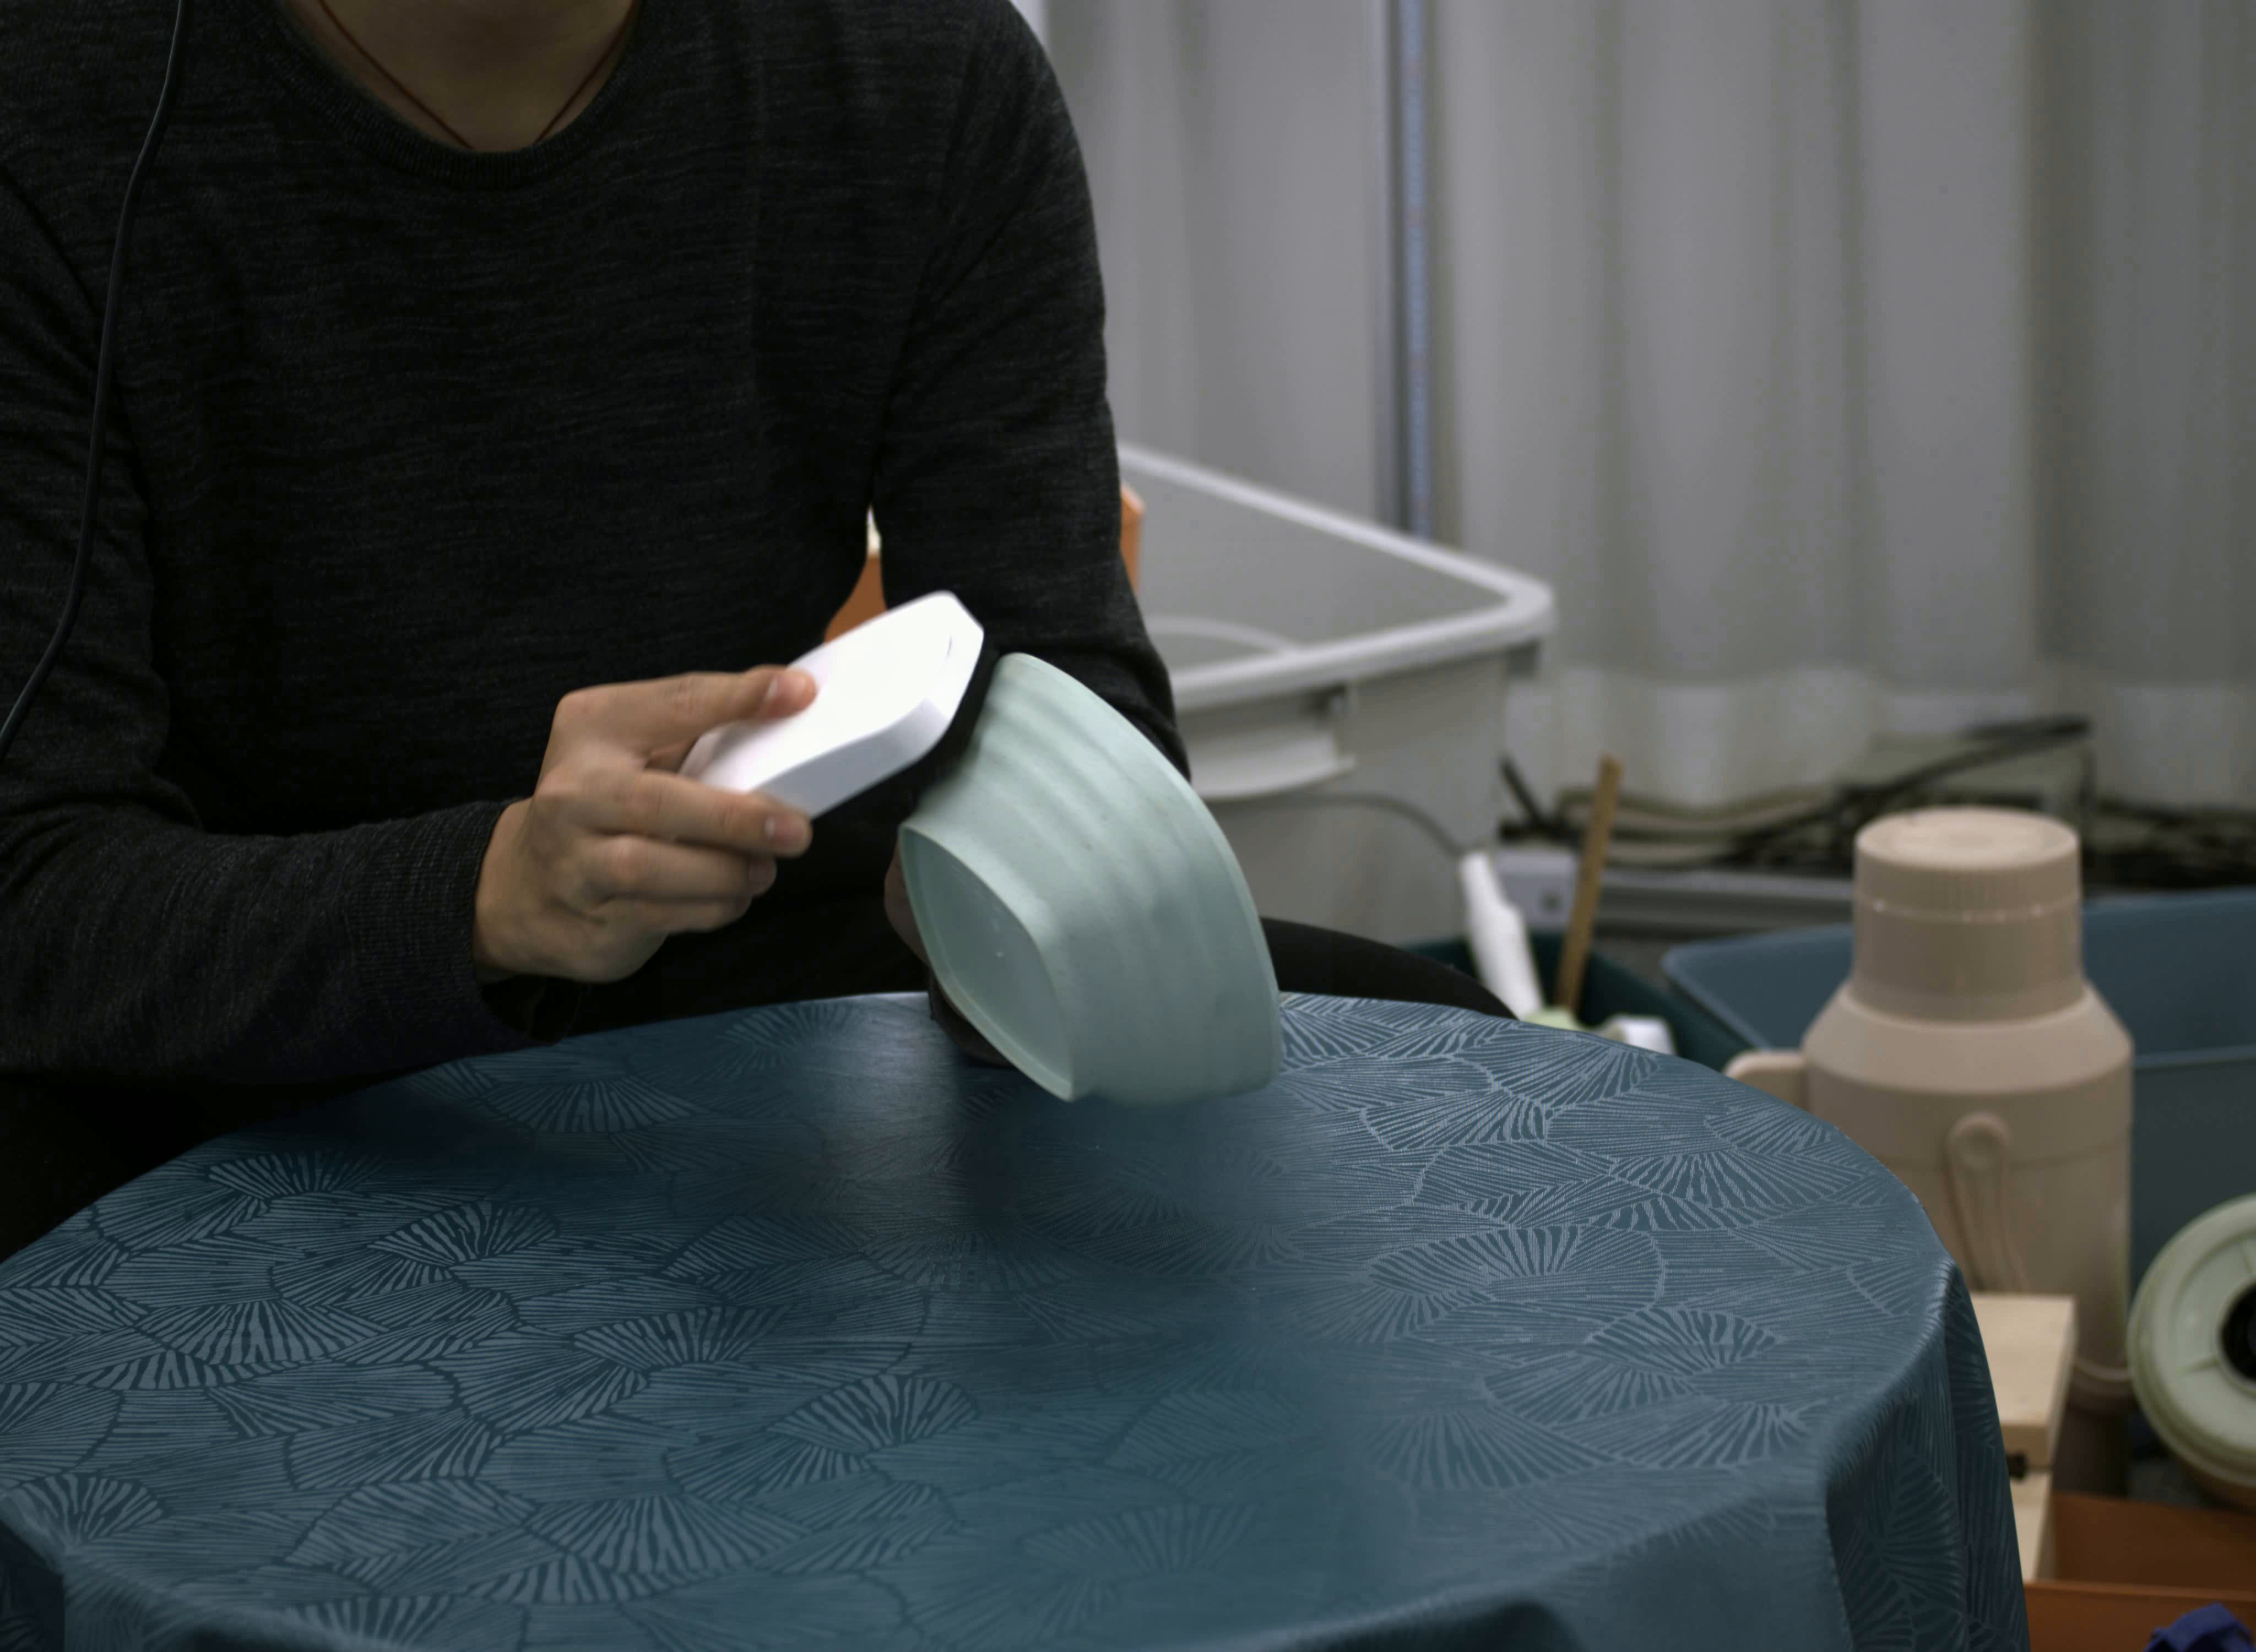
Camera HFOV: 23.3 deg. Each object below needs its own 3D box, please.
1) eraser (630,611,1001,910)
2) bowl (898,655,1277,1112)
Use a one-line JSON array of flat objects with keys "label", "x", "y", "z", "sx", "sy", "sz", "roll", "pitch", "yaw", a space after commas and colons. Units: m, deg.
[{"label": "eraser", "x": -0.096, "y": -0.021, "z": 1.651, "sx": 0.131, "sy": 0.034, "sz": 0.064, "roll": -25, "pitch": 30, "yaw": 38}, {"label": "bowl", "x": -0.020, "y": 0.028, "z": 1.630, "sx": 0.058, "sy": 0.150, "sz": 0.152, "roll": -30, "pitch": 24, "yaw": -20}]
